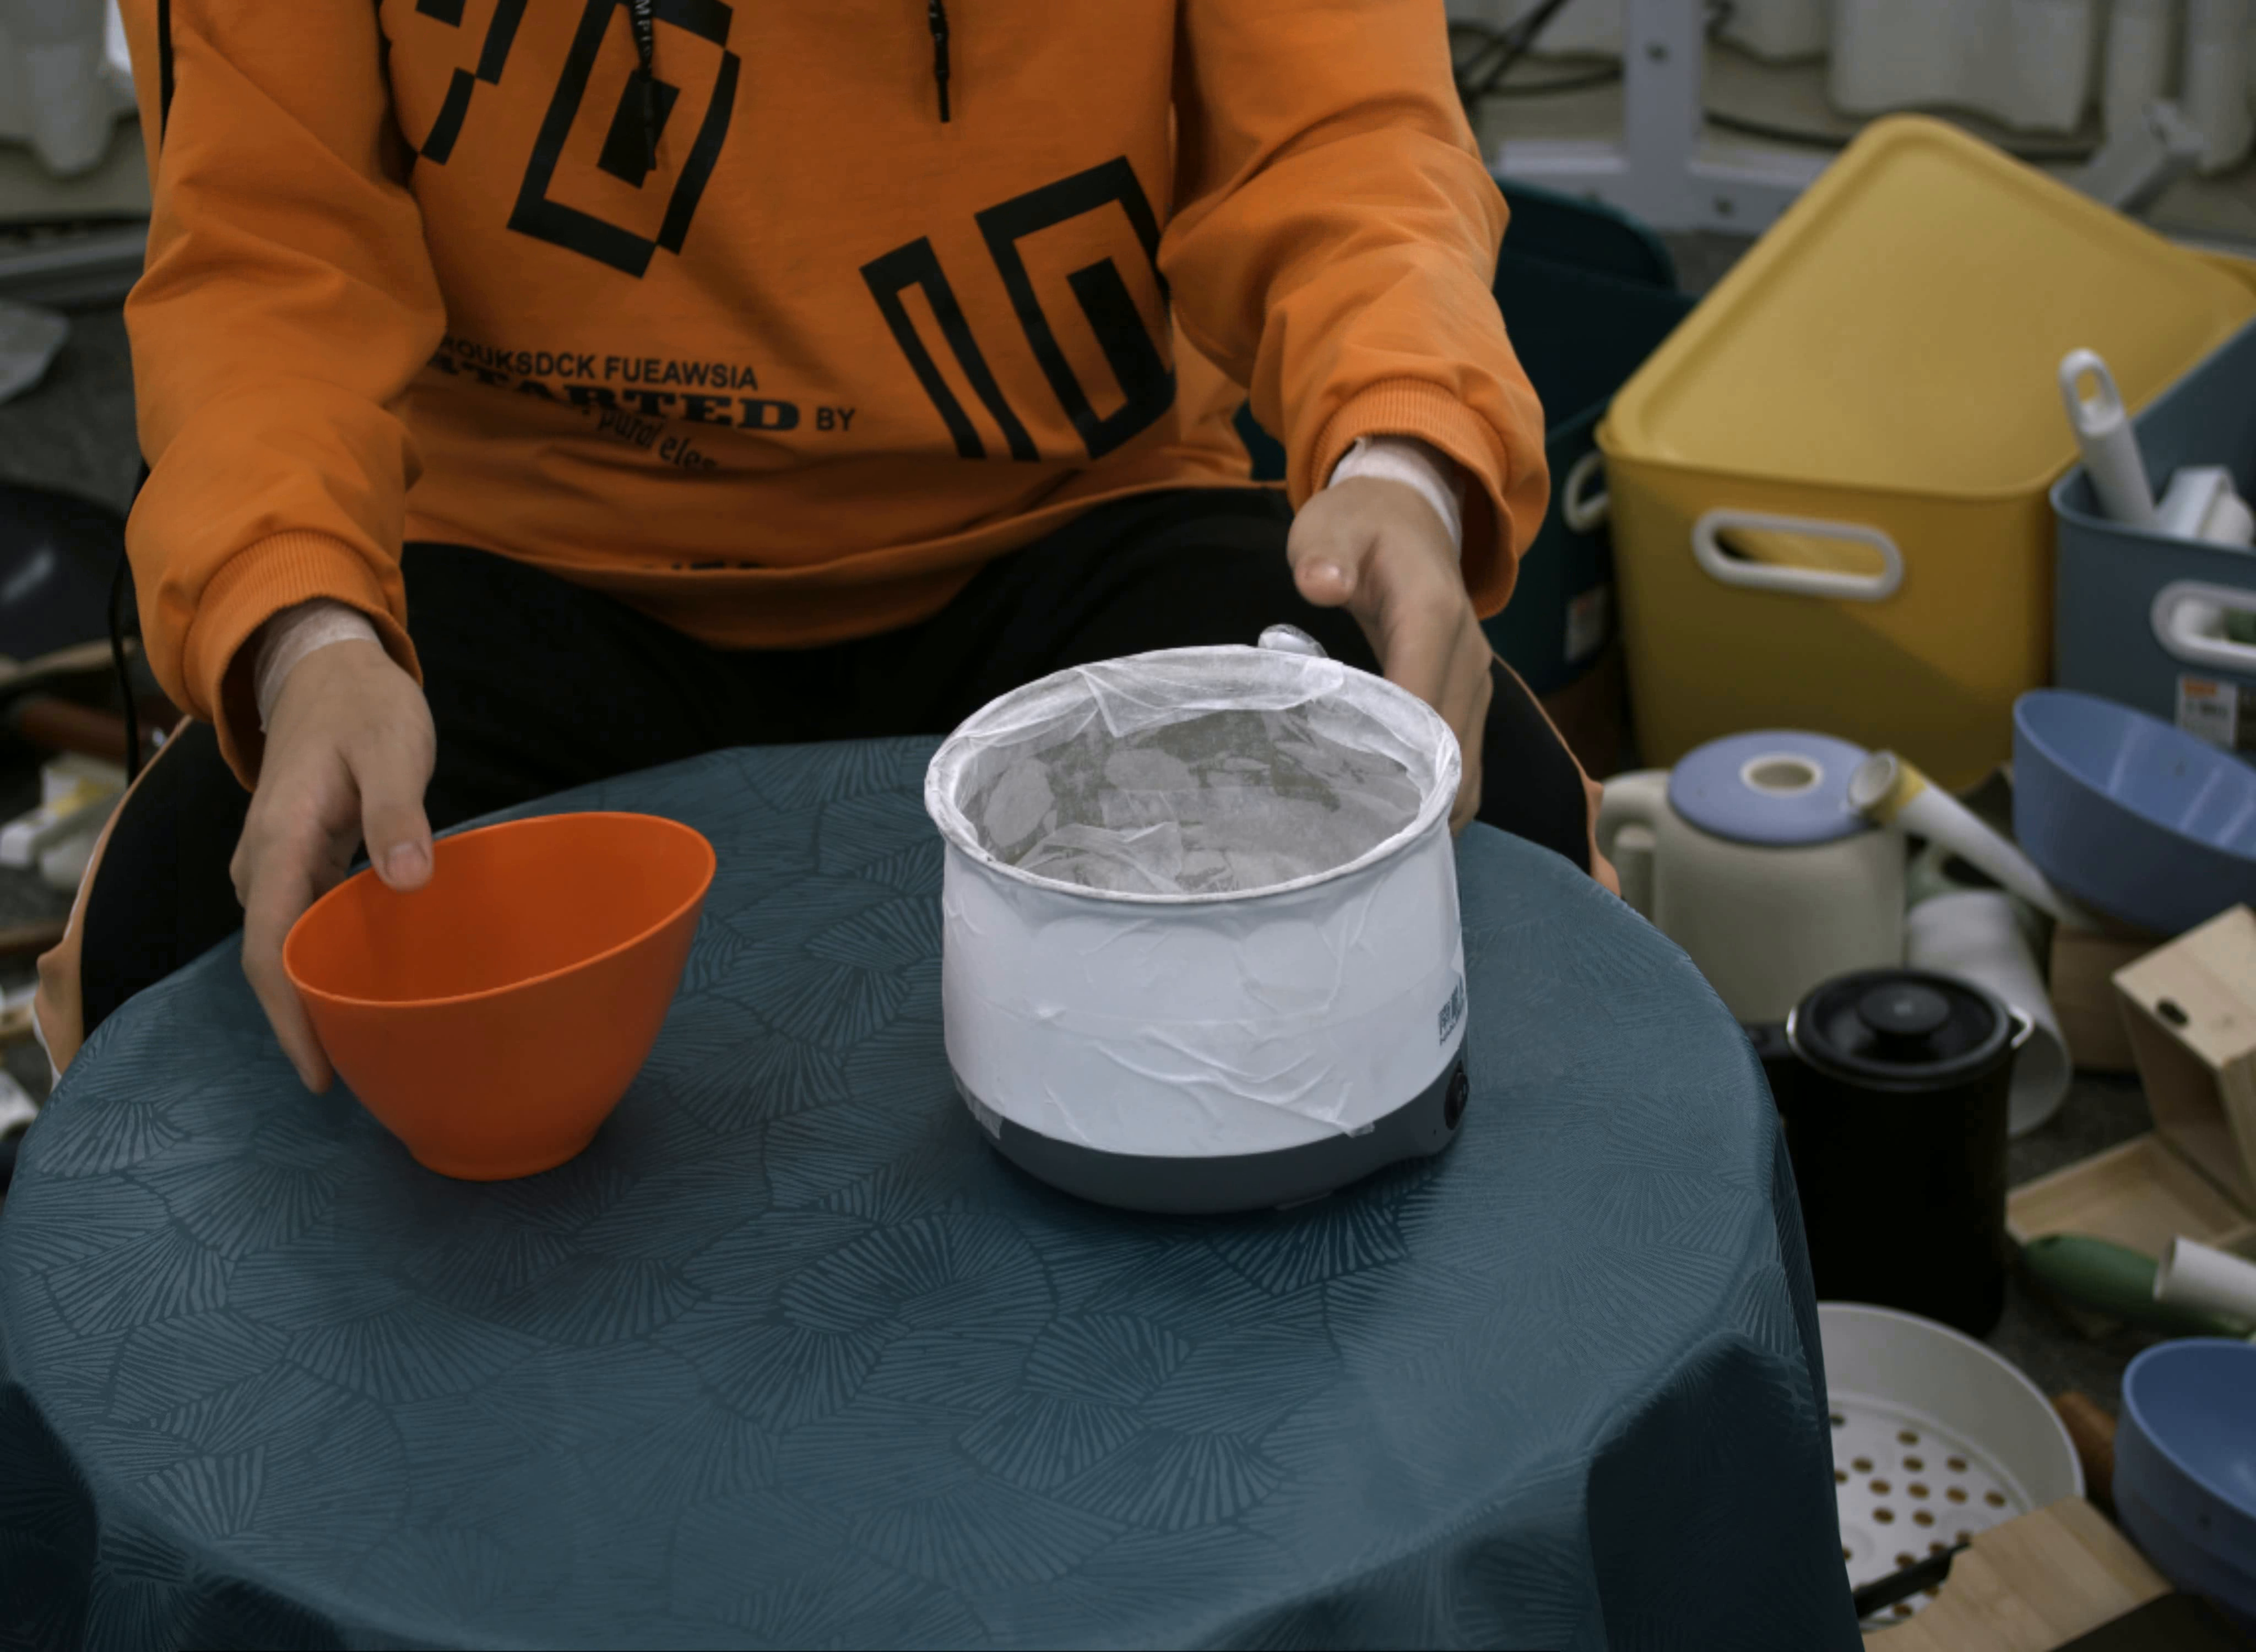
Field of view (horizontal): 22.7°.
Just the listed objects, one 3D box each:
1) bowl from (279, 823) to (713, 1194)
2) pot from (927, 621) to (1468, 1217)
[{"bbox_3d":[-0.208,0.066,1.888,0.147,0.103,0.150,-3,26,2],"label":"bowl"},{"bbox_3d":[0.033,0.024,1.900,0.177,0.135,0.238,6,29,16],"label":"pot"}]
